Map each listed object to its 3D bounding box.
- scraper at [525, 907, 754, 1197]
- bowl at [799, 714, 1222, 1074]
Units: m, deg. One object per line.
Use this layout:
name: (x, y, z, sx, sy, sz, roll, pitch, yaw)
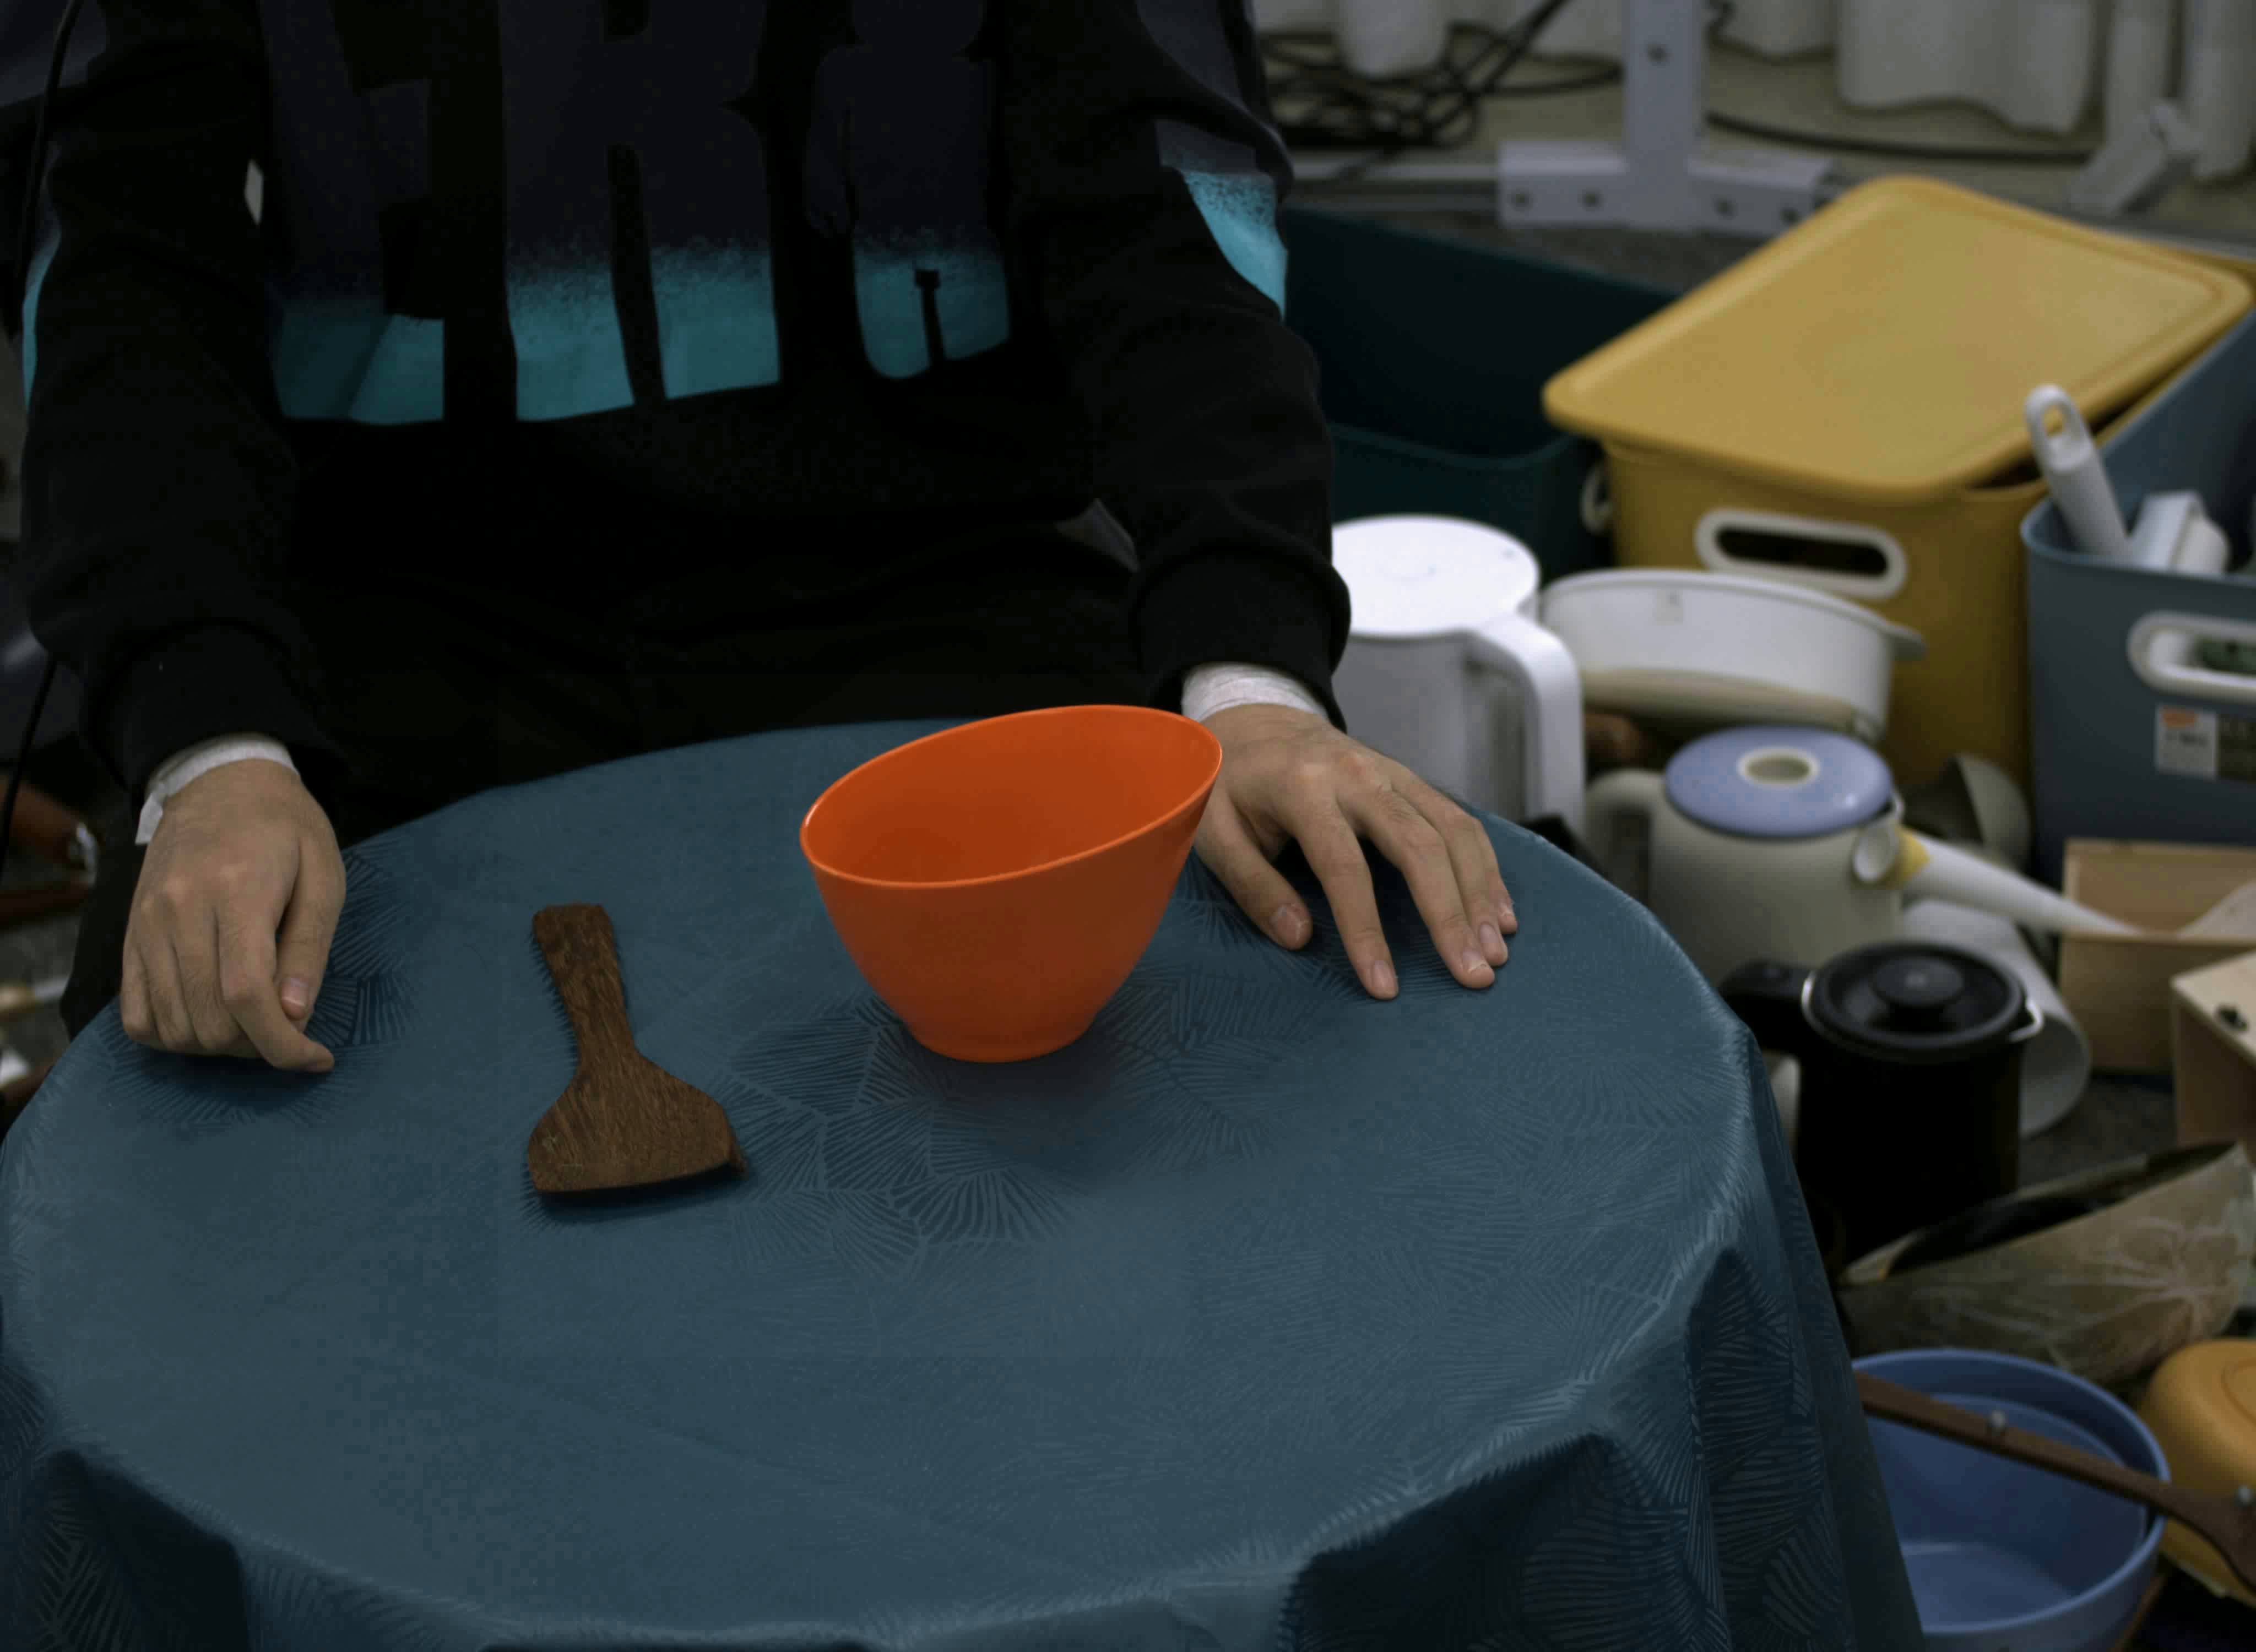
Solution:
scraper: (-0.181, 0.078, 1.956, 0.076, 0.011, 0.213, -7, 27, -10)
bowl: (-0.038, 0.027, 1.942, 0.147, 0.103, 0.150, -4, 26, 2)
